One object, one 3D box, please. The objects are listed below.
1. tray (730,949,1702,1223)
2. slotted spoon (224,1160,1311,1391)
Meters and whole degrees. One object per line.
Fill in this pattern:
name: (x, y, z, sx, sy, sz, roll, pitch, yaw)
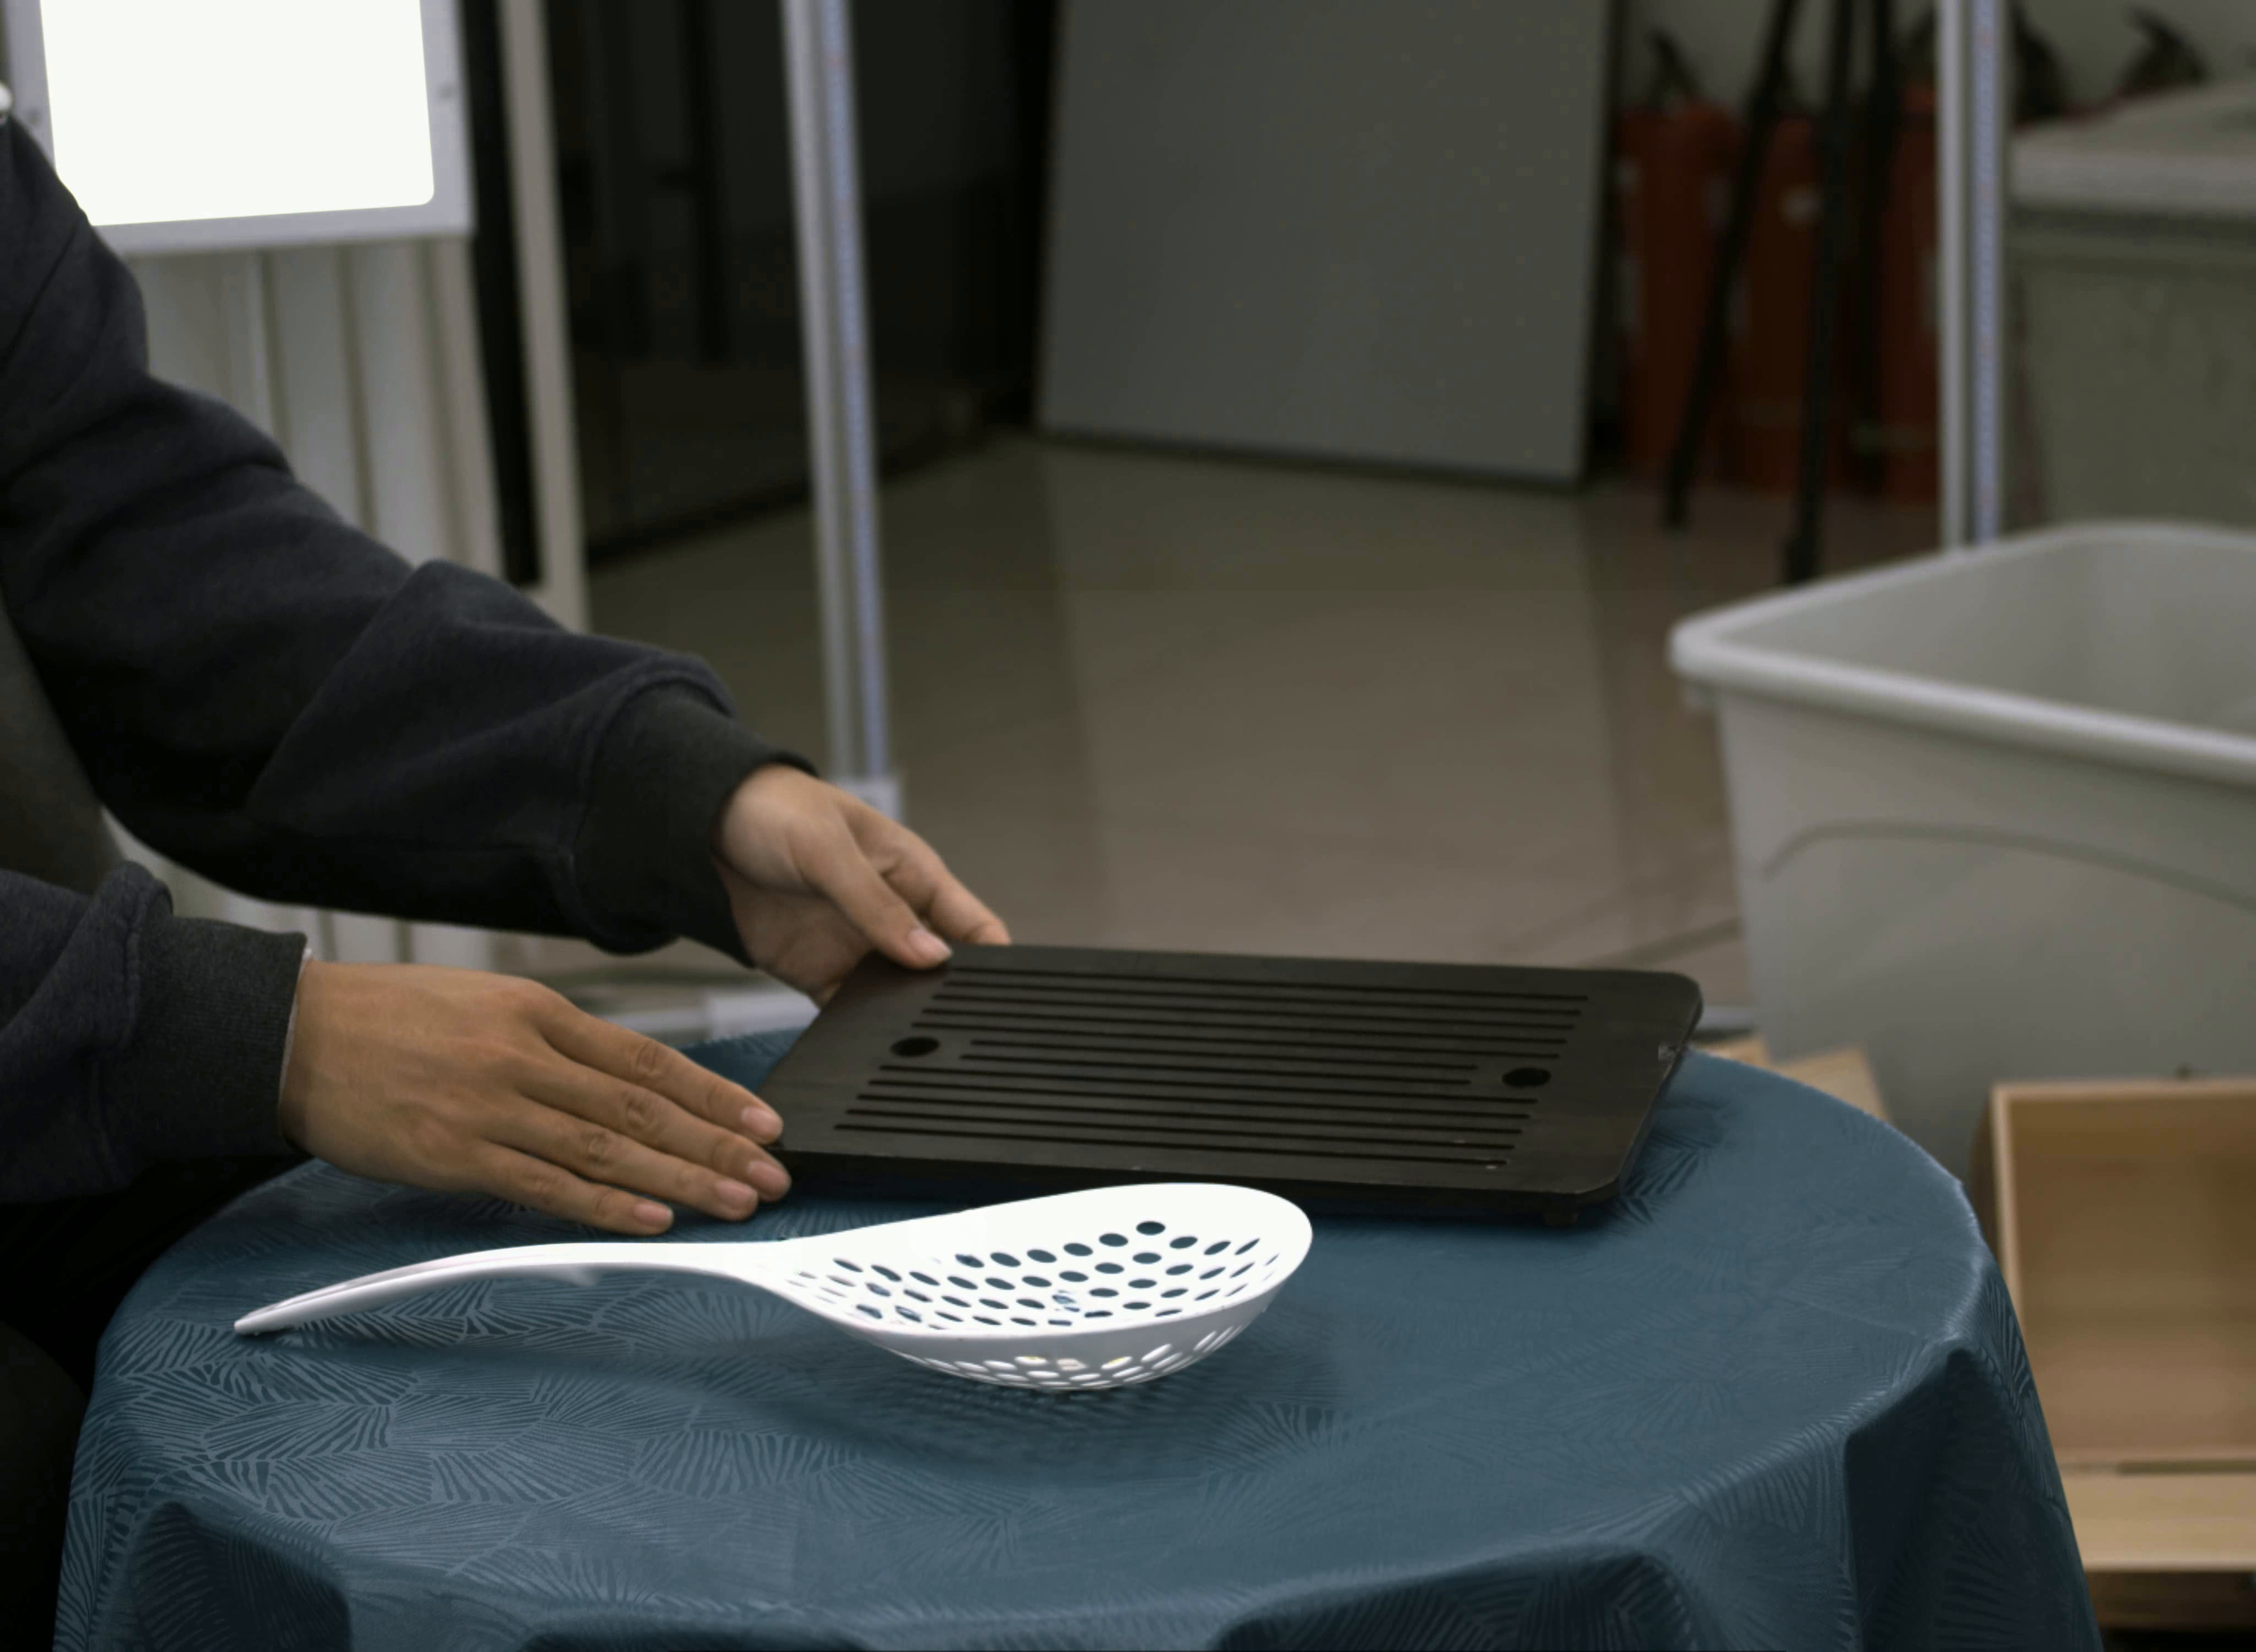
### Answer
tray: (0.032, 0.086, 1.813, 0.305, 0.019, 0.169, 1, 22, 18)
slotted spoon: (-0.113, 0.142, 1.629, 0.347, 0.051, 0.136, 1, 16, 18)
